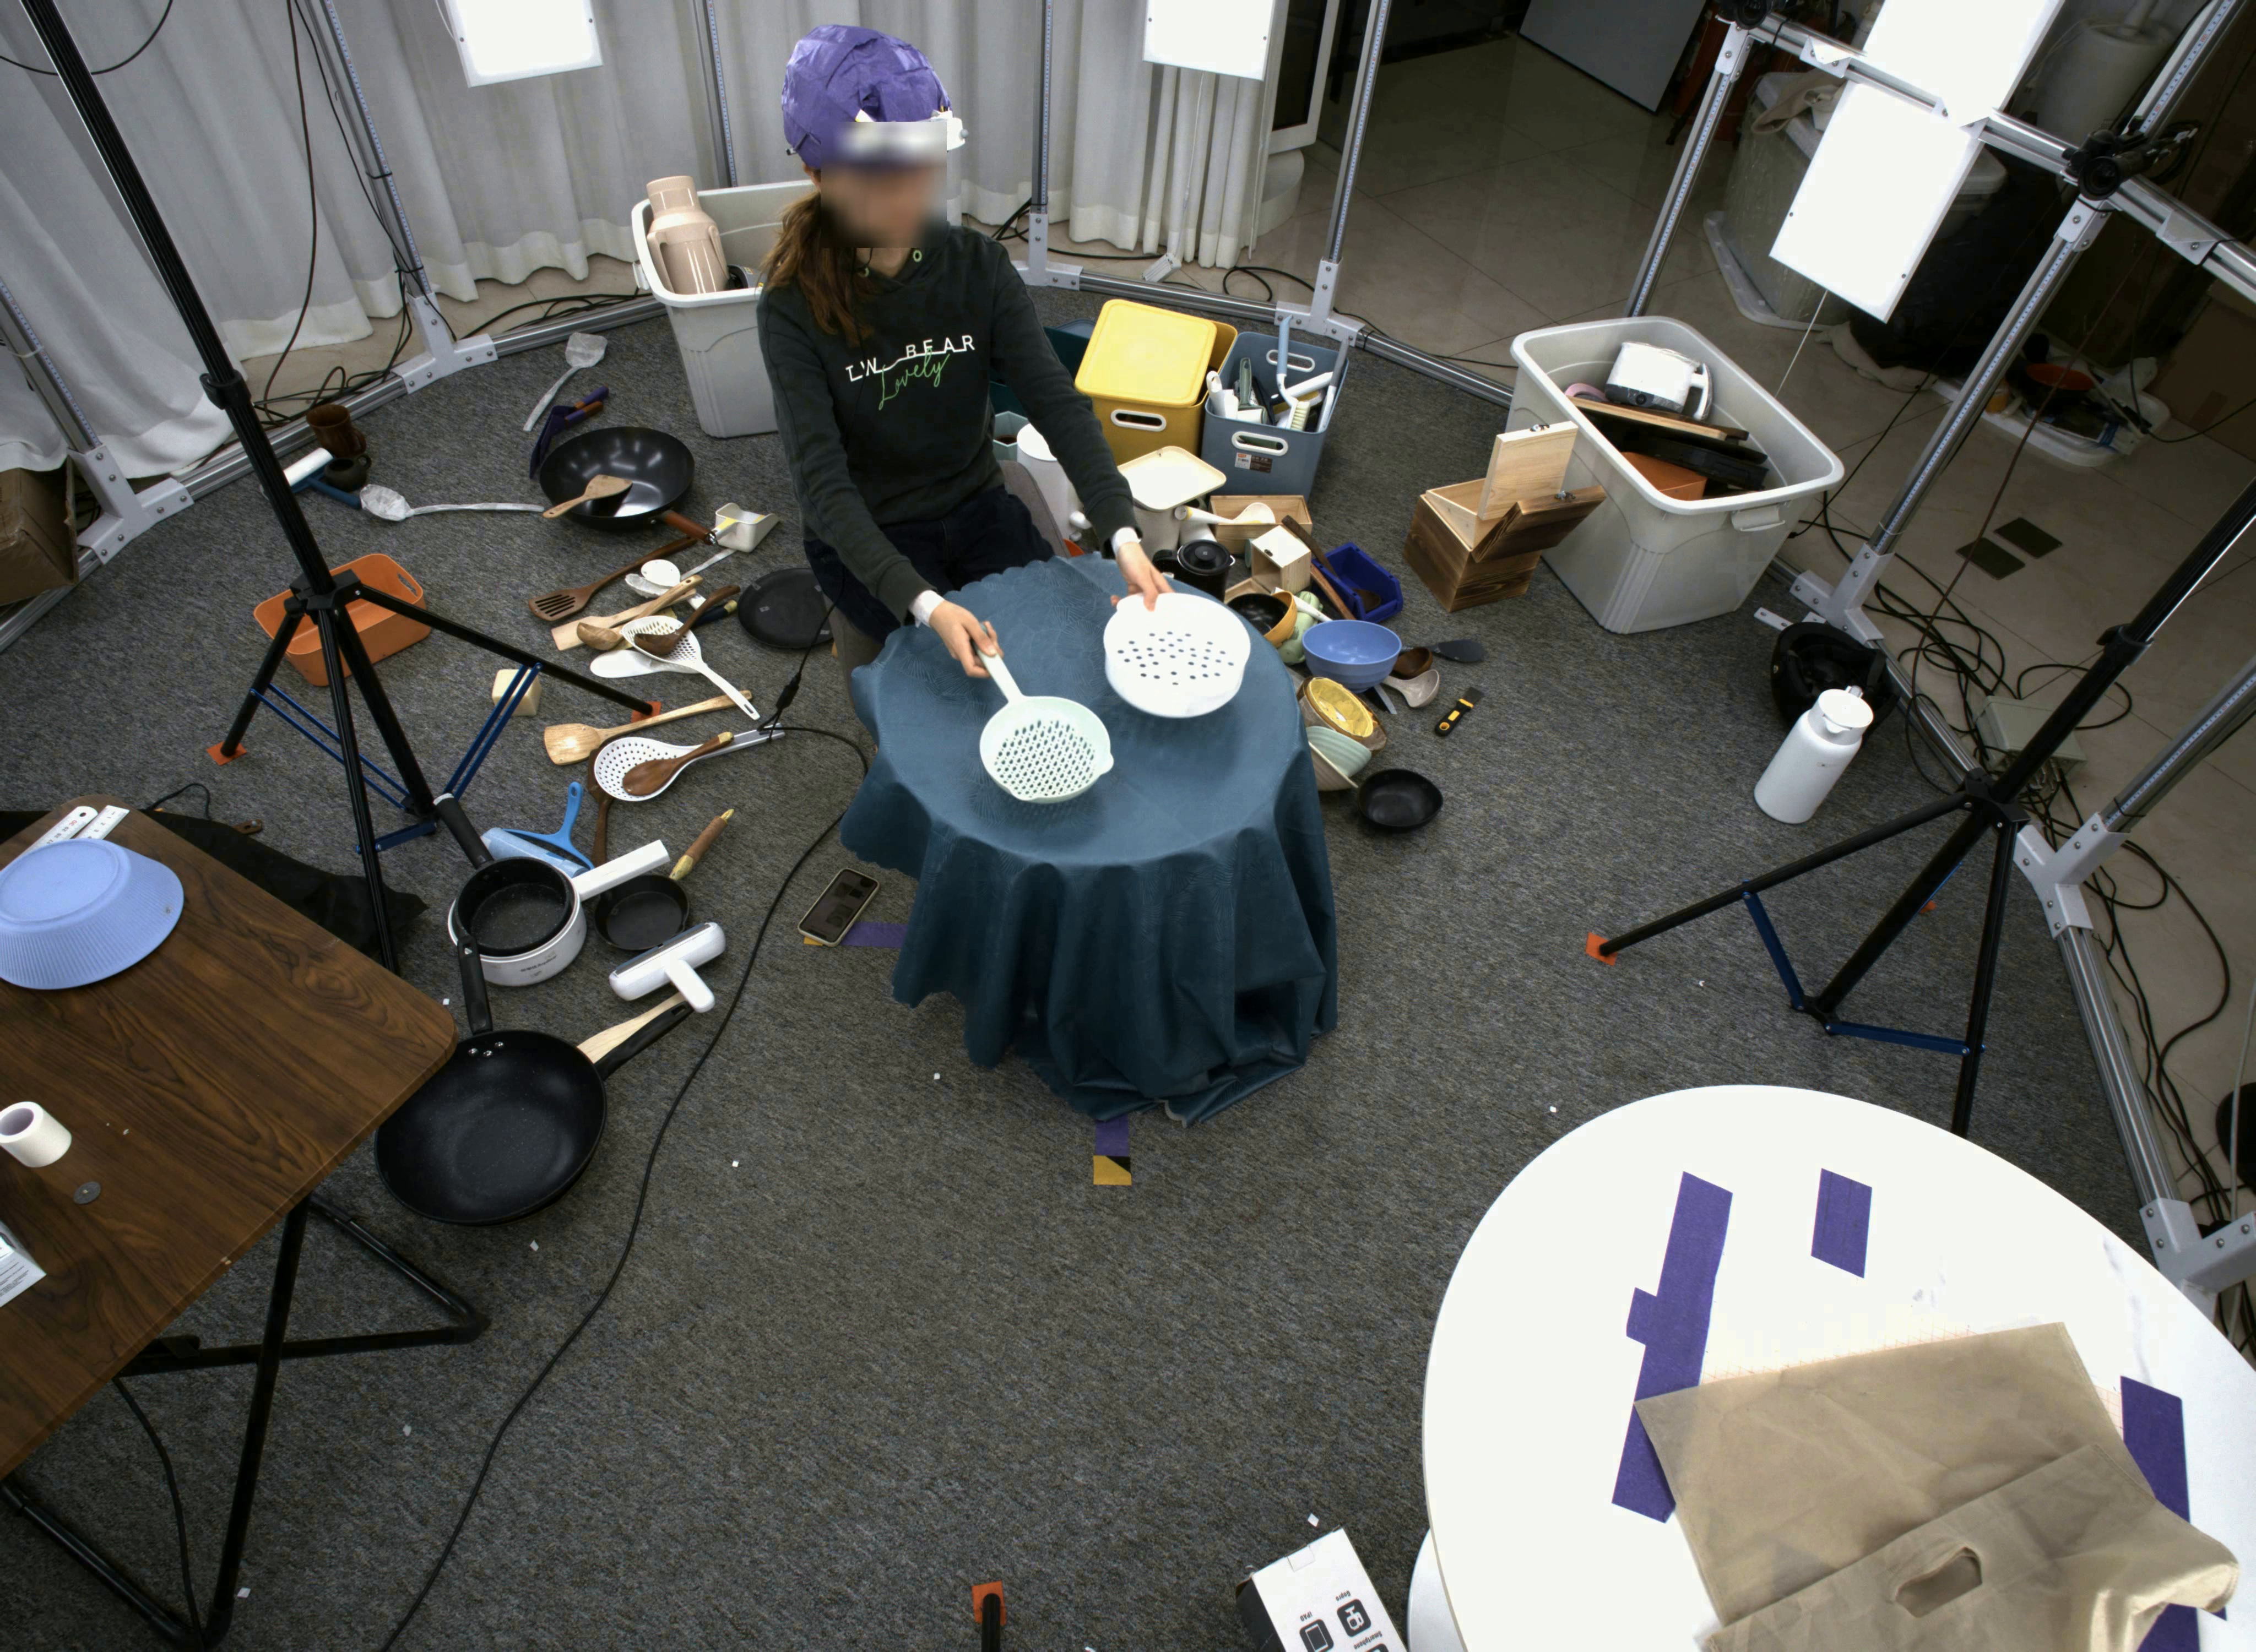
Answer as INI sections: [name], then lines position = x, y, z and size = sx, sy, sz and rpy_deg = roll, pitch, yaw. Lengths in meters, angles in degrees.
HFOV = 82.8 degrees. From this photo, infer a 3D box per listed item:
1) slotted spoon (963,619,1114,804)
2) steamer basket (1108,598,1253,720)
[slotted spoon]
position = -0.151, -0.169, 1.742
size = 0.169, 0.074, 0.366
rpy_deg = -20, 62, -17
[steamer basket]
position = 0.071, -0.231, 1.795
size = 0.202, 0.067, 0.235
rpy_deg = -23, 51, -25
